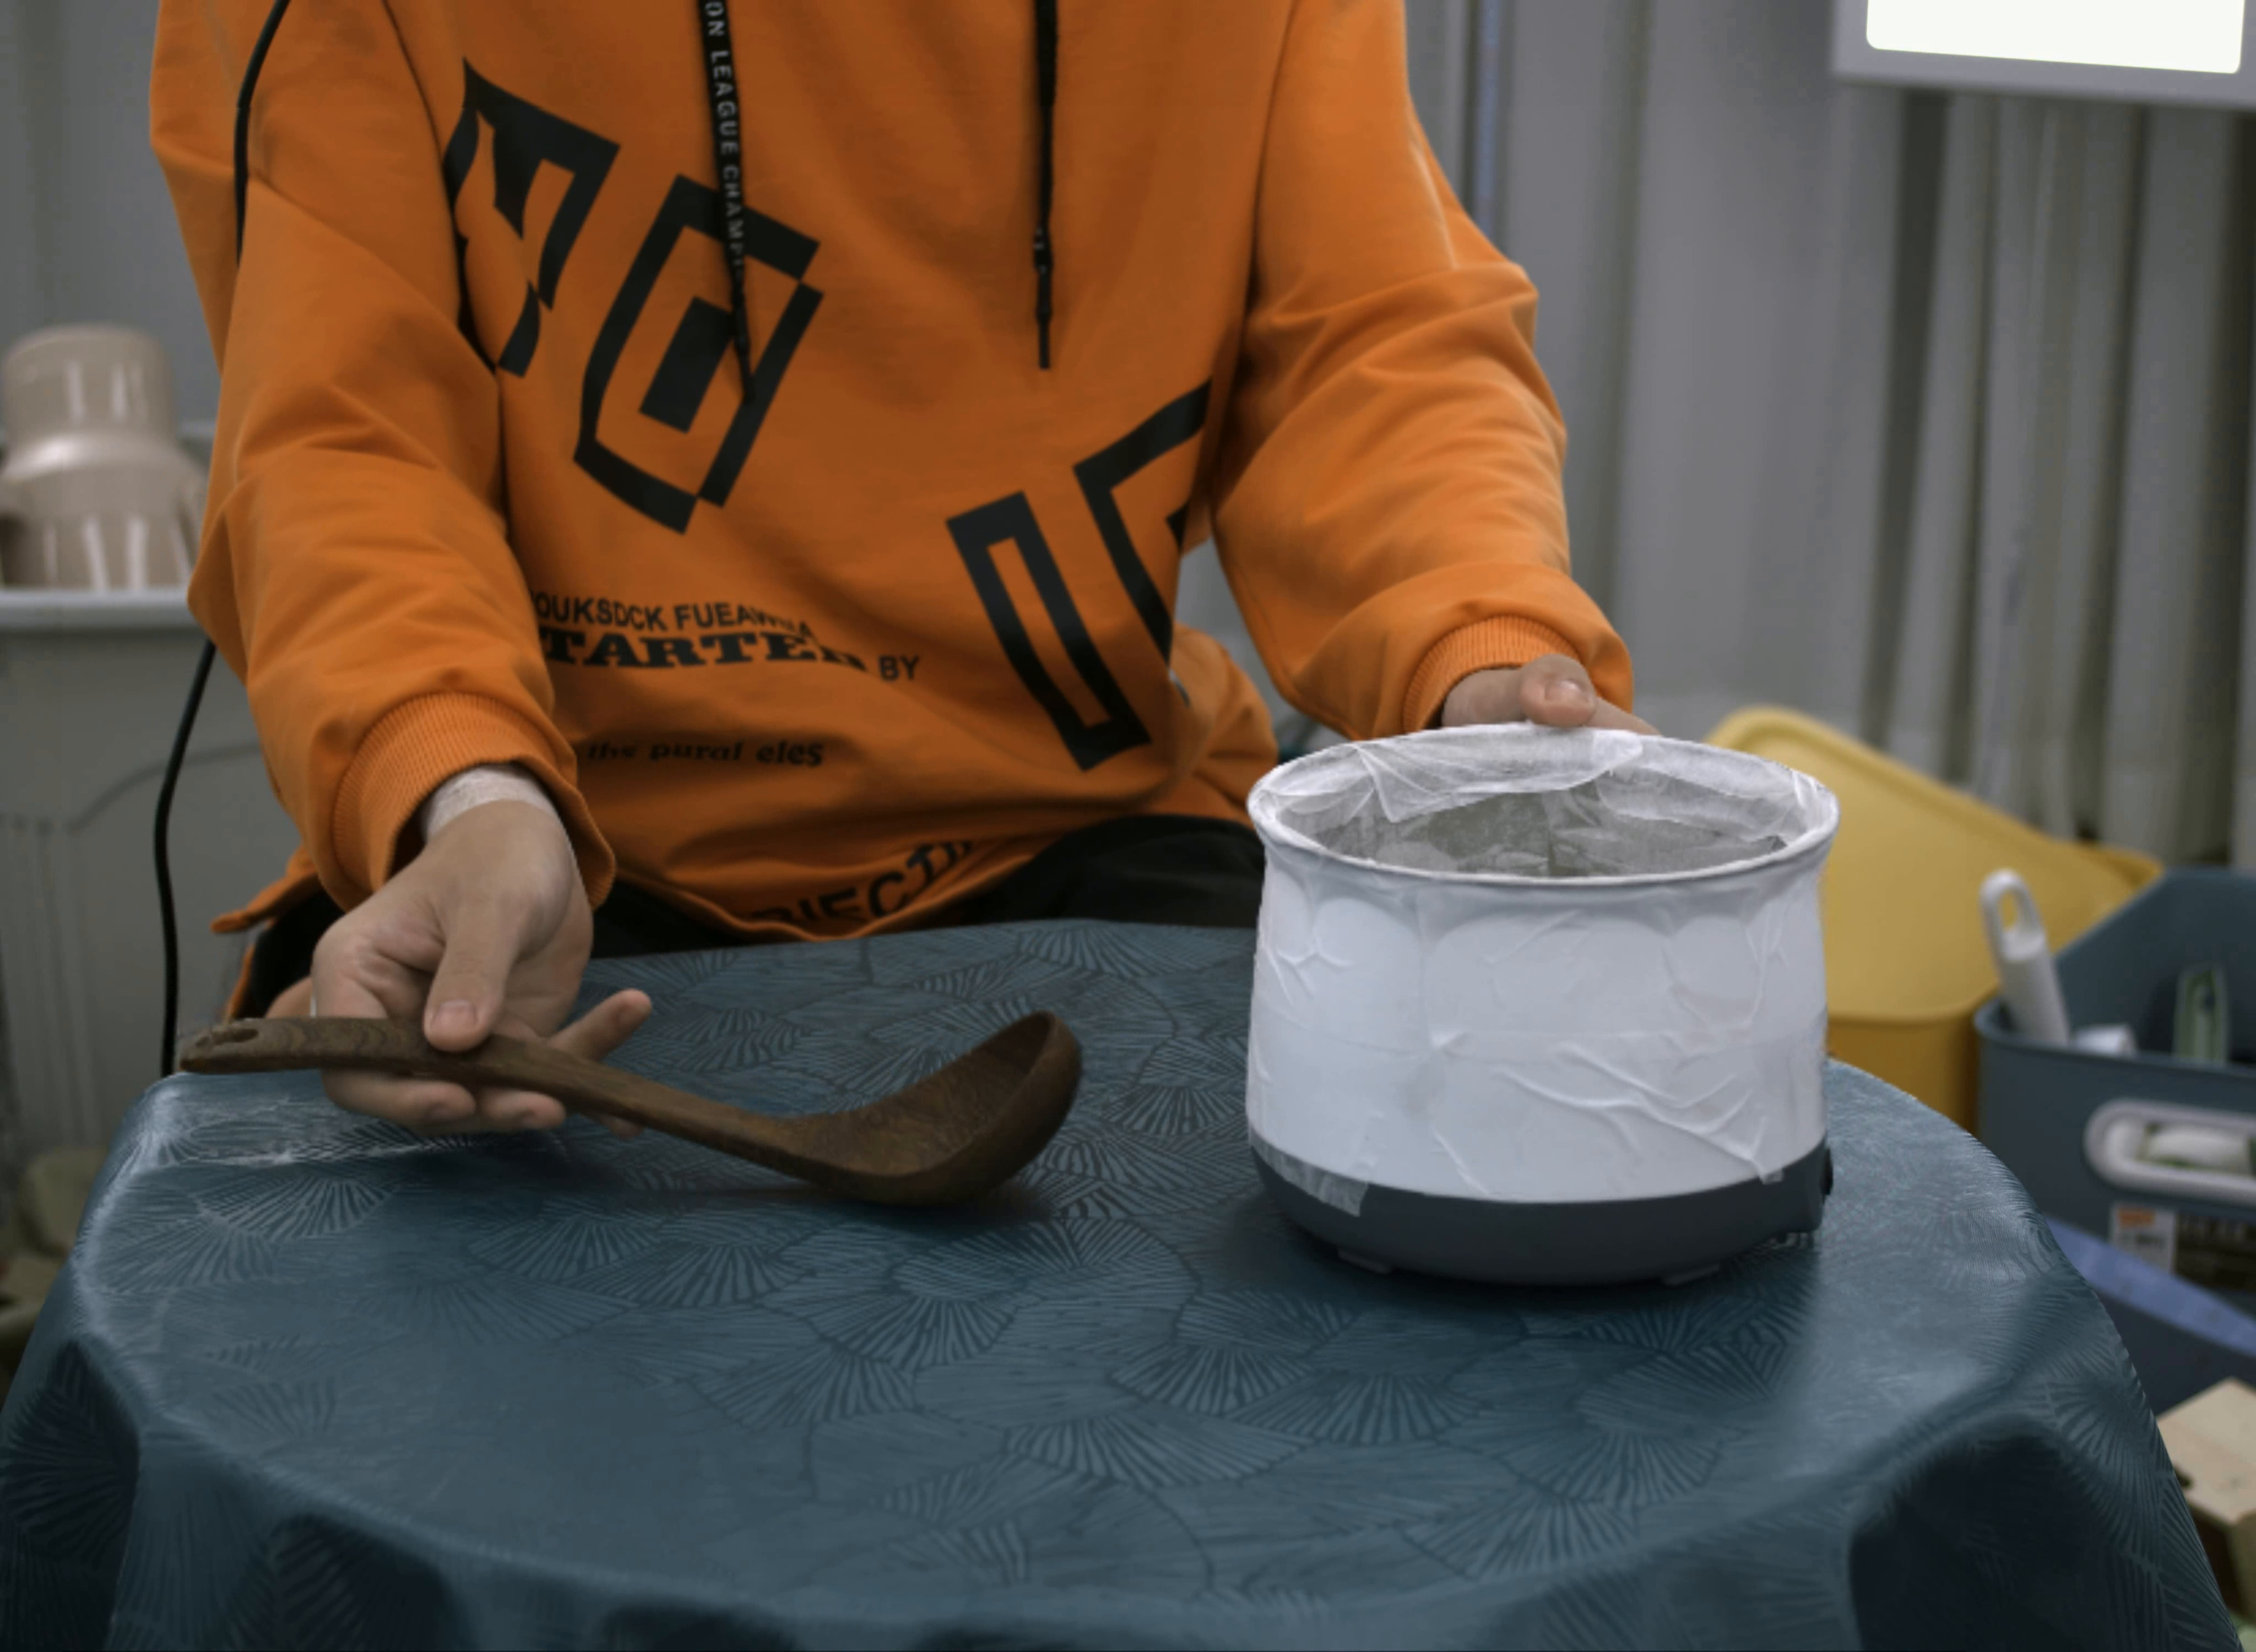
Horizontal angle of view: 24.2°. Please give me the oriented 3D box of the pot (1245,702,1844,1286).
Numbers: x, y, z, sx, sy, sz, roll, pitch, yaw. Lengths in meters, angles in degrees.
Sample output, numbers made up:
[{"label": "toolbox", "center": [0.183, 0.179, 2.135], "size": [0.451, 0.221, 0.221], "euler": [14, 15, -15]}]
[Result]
[{"label": "pot", "center": [0.125, 0.046, 1.606], "size": [0.178, 0.138, 0.233], "euler": [2, 16, 4]}]

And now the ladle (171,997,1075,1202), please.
[{"label": "ladle", "center": [-0.153, 0.064, 1.603], "size": [0.273, 0.072, 0.075], "euler": [11, 22, 0]}]
